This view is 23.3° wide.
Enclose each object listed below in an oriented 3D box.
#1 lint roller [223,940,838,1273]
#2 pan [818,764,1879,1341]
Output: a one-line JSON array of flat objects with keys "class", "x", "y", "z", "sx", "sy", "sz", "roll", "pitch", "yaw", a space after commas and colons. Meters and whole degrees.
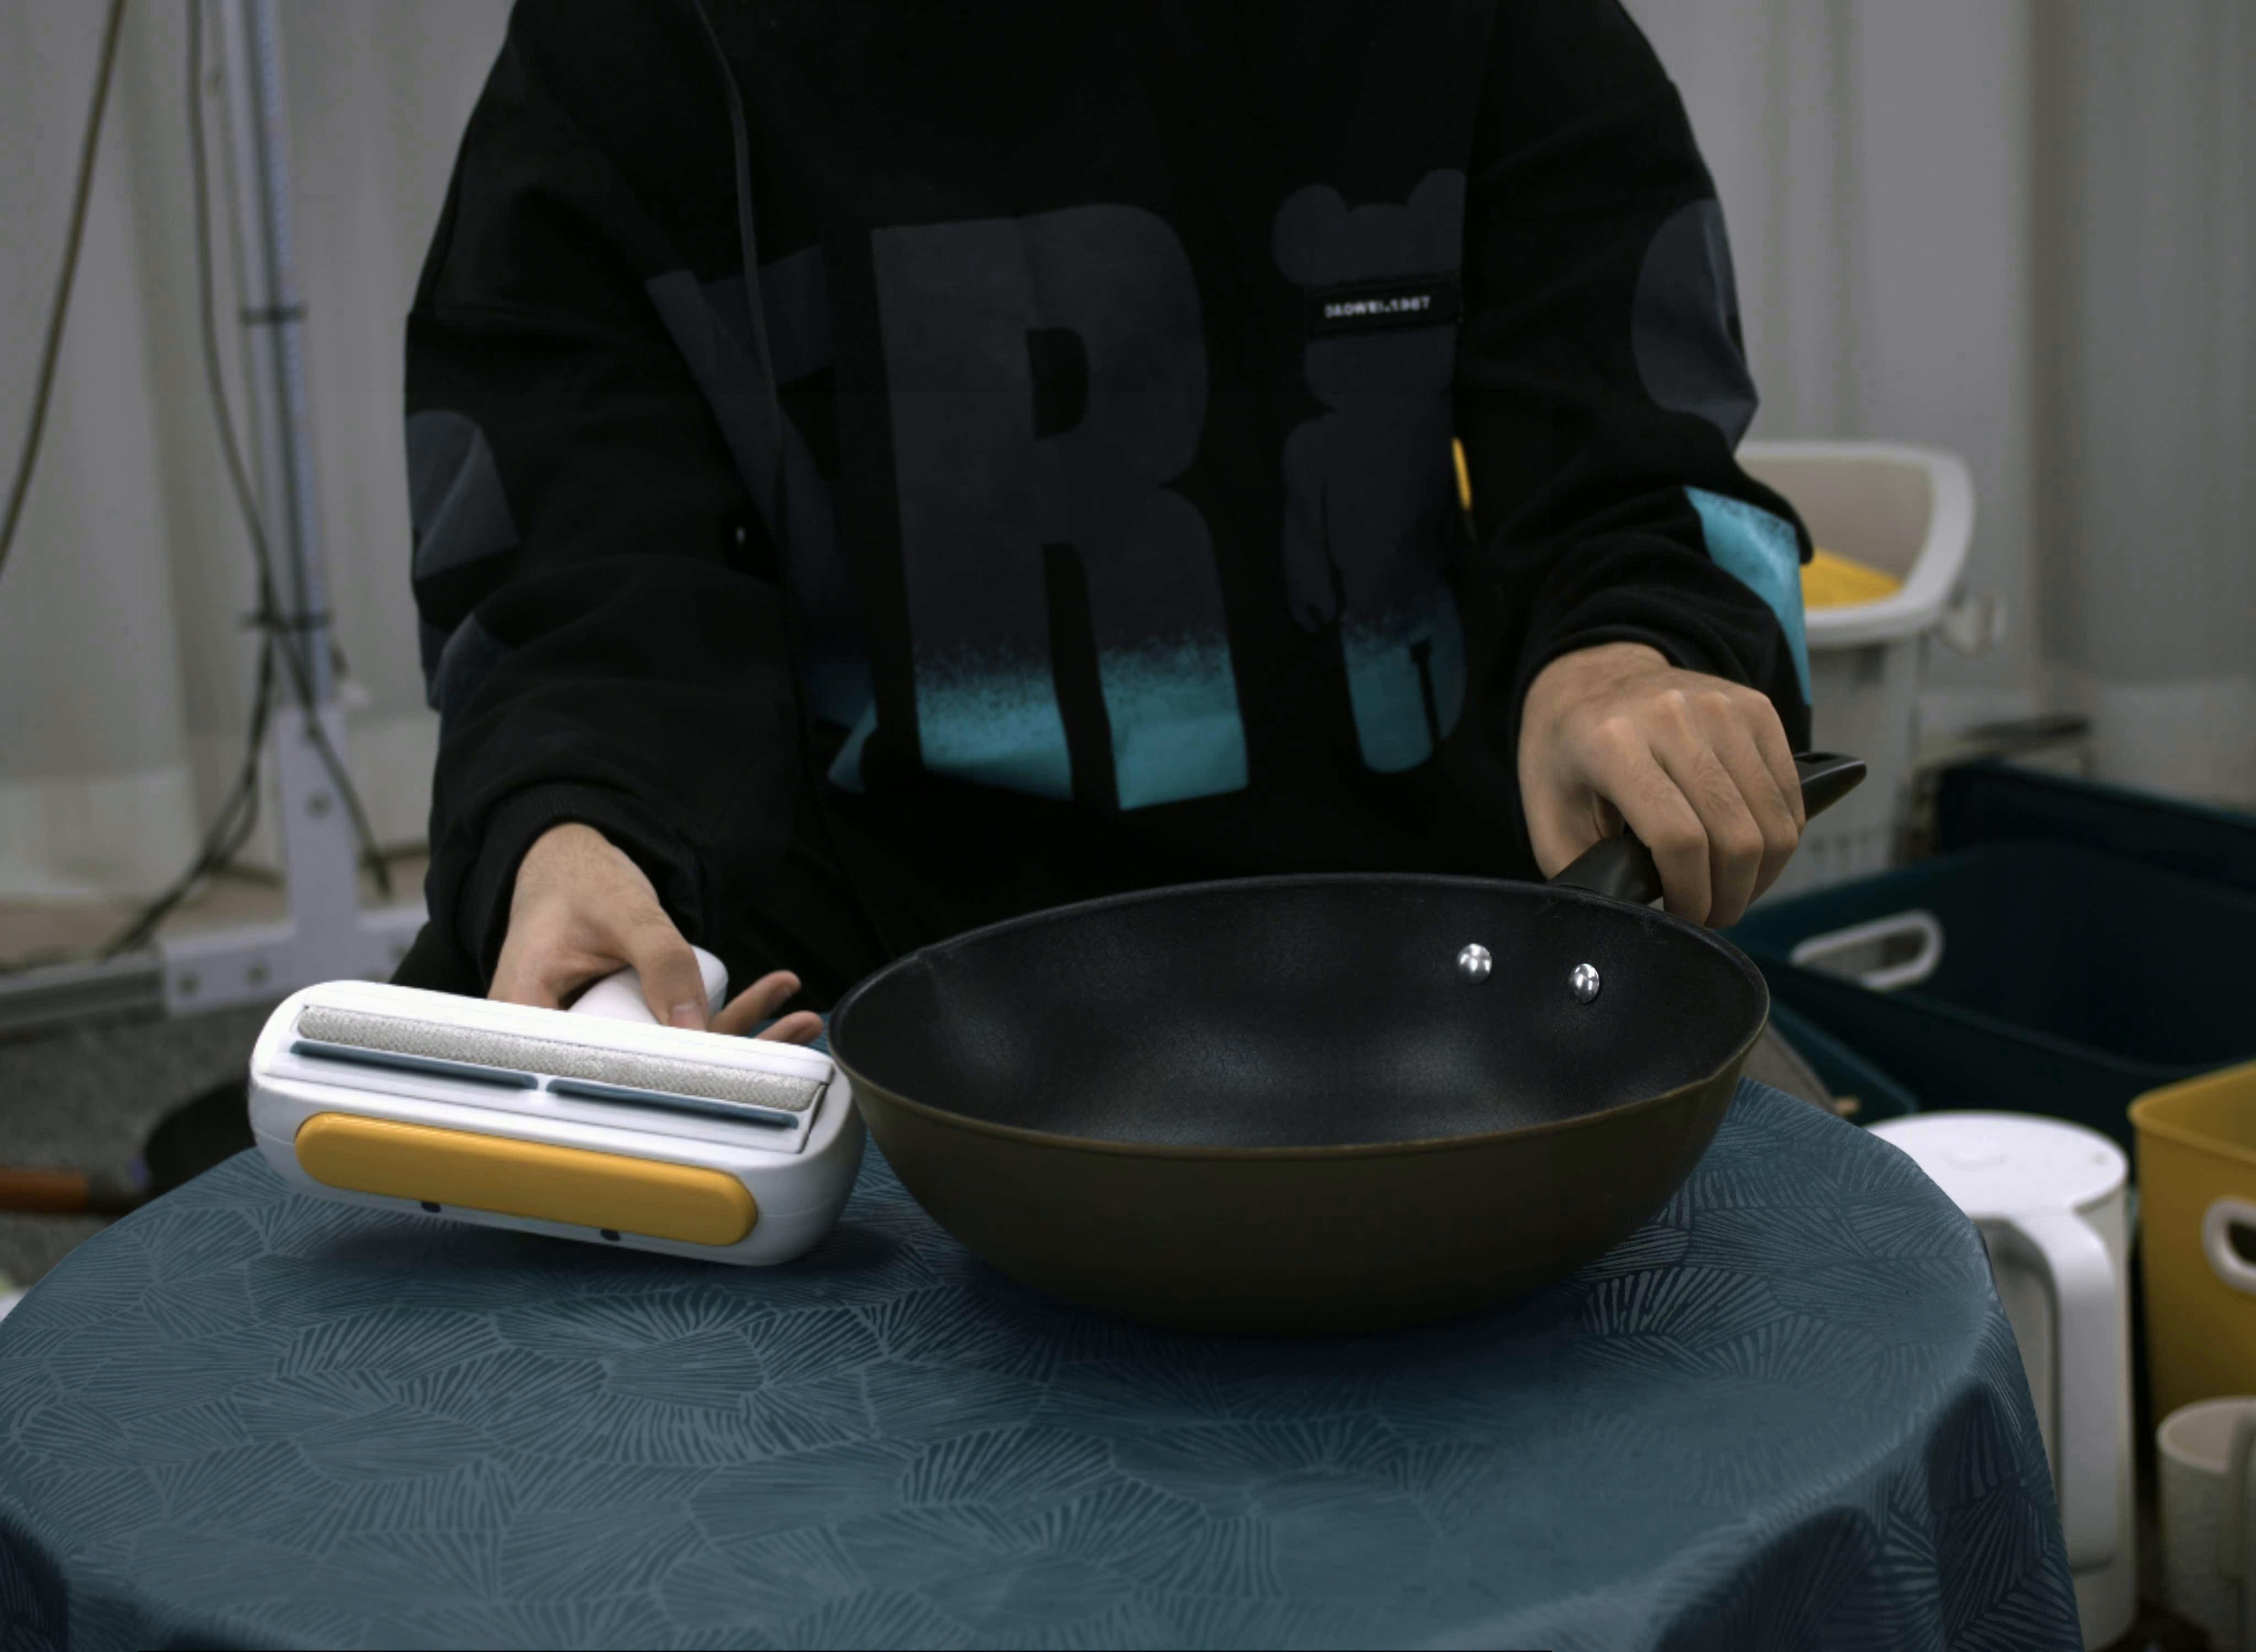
[{"class": "lint roller", "x": -0.169, "y": 0.072, "z": 1.738, "sx": 0.193, "sy": 0.073, "sz": 0.194, "roll": 6, "pitch": 27, "yaw": 14}, {"class": "pan", "x": 0.104, "y": 0.068, "z": 1.707, "sx": 0.289, "sy": 0.086, "sz": 0.463, "roll": 8, "pitch": 18, "yaw": 36}]
